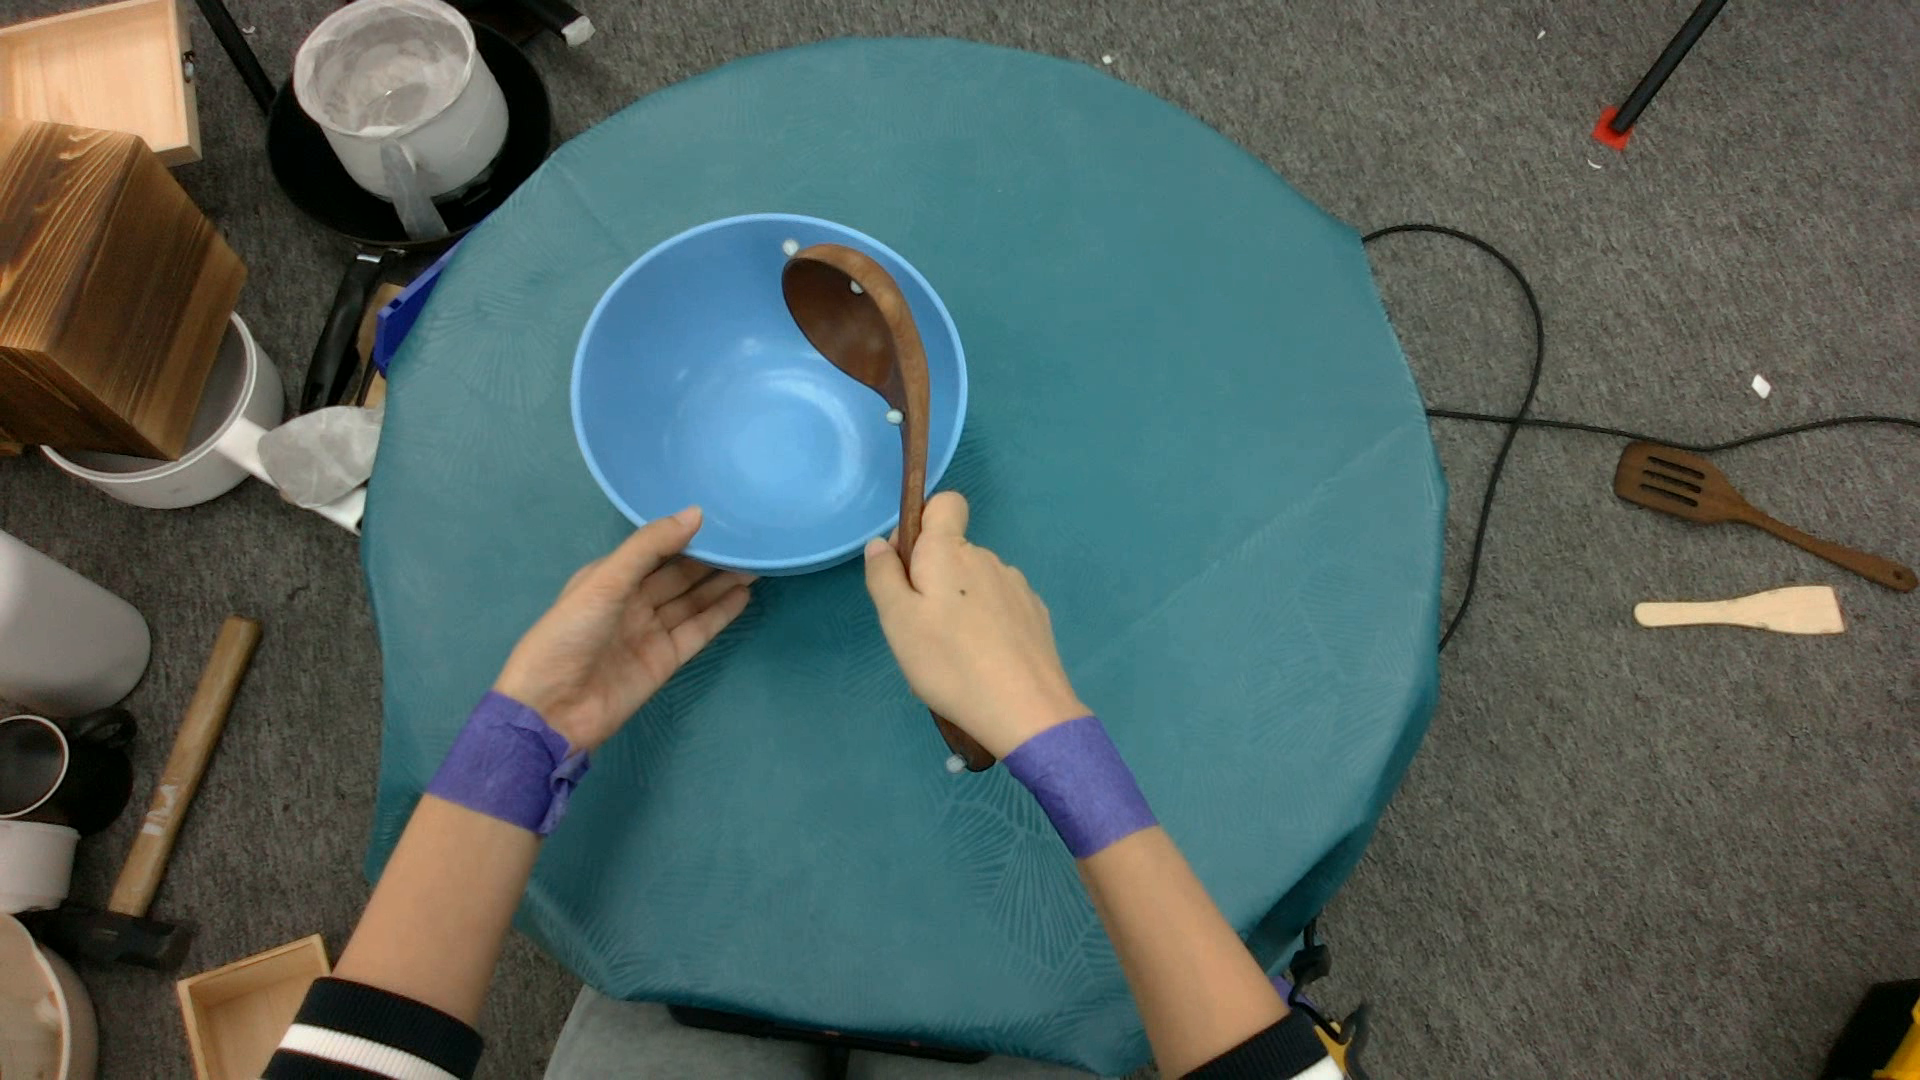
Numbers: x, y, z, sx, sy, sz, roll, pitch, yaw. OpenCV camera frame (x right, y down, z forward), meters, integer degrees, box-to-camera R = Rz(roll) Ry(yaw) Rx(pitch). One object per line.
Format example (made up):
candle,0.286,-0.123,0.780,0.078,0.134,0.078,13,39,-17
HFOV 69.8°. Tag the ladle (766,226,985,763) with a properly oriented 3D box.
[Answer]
ladle,-0.041,-0.024,0.621,0.065,0.076,0.261,-4,69,-17

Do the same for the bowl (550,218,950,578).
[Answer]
bowl,-0.109,-0.061,0.725,0.196,0.095,0.197,4,66,-8
